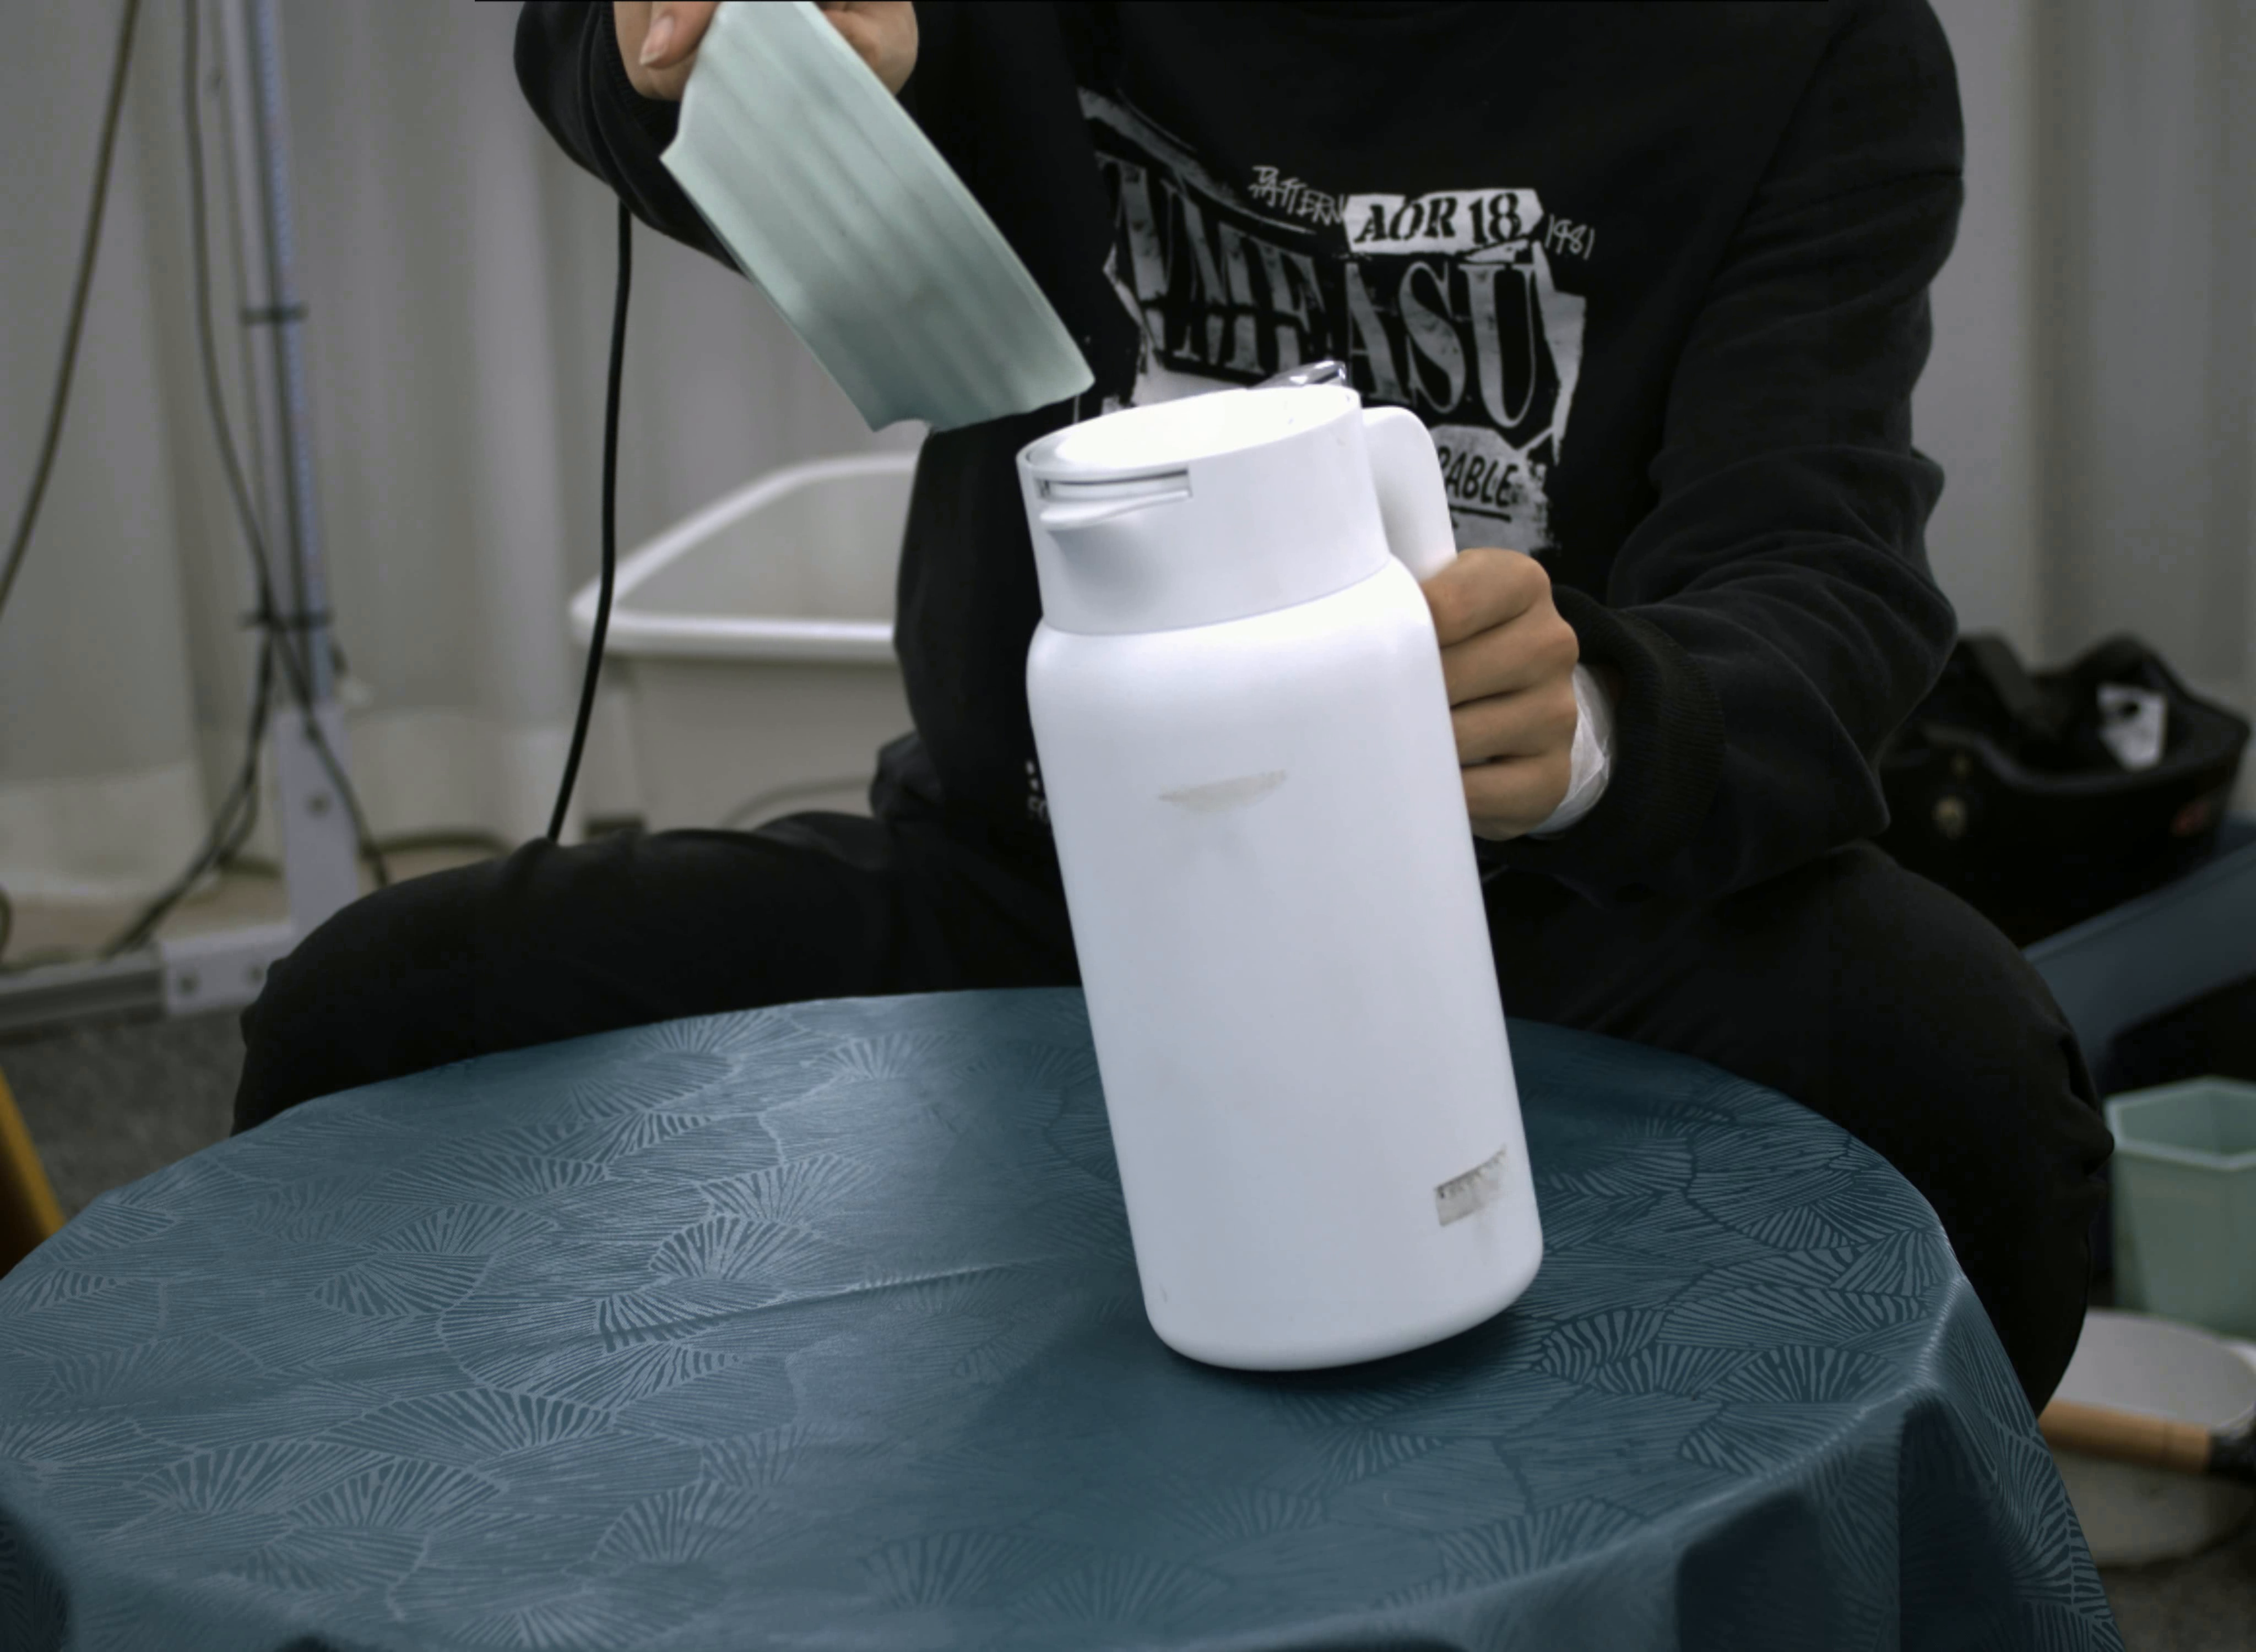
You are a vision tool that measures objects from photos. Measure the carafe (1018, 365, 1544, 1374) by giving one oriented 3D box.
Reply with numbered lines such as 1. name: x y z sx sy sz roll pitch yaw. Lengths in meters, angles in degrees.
1. carafe: 0.049 0.008 1.569 0.124 0.268 0.173 -4 14 35

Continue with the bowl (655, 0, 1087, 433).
1. bowl: -0.079 -0.163 1.510 0.058 0.150 0.152 -38 19 -1
